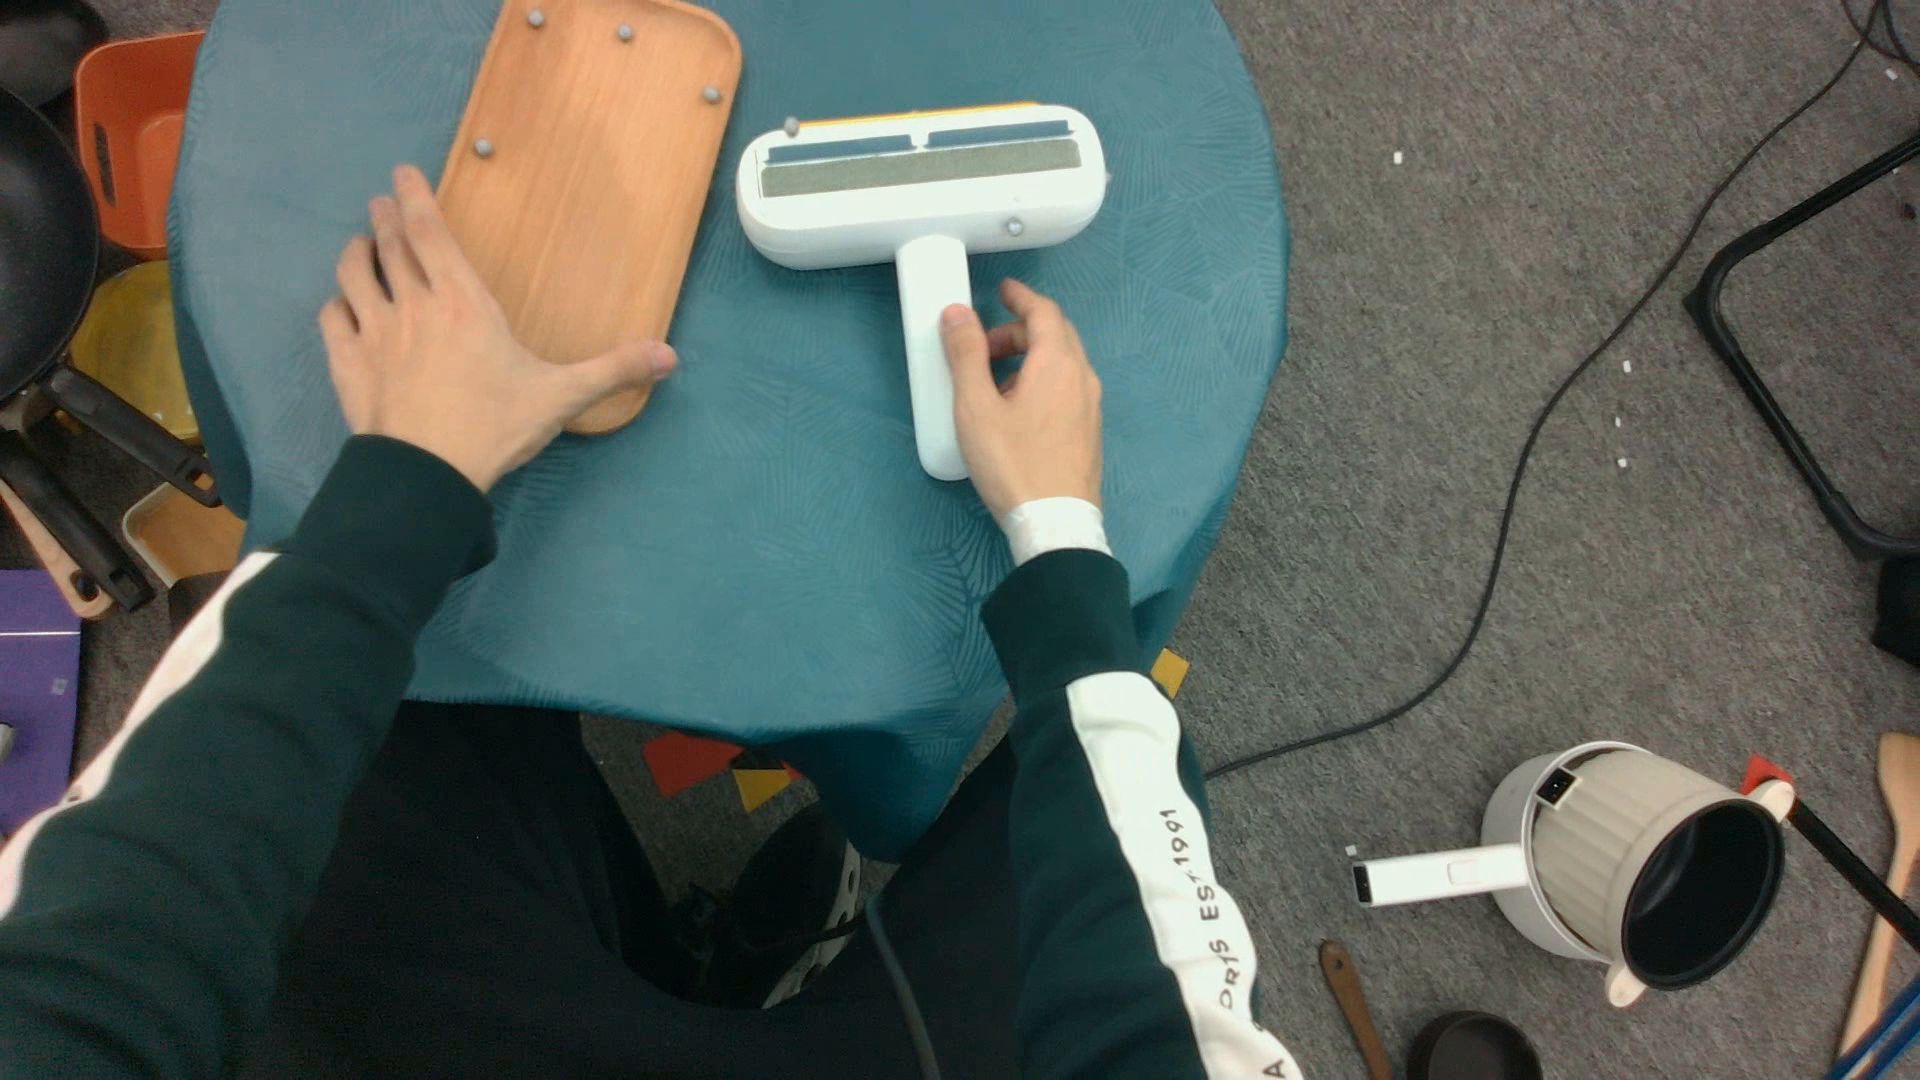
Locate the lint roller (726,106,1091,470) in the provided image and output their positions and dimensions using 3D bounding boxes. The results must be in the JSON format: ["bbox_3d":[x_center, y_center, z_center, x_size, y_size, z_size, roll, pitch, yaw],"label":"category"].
[{"bbox_3d":[-0.026,-0.134,0.741,0.193,0.074,0.192,-2,91,-7],"label":"lint roller"}]

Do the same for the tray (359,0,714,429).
[{"bbox_3d":[-0.214,-0.181,0.716,0.130,0.023,0.251,14,74,-8],"label":"tray"}]
